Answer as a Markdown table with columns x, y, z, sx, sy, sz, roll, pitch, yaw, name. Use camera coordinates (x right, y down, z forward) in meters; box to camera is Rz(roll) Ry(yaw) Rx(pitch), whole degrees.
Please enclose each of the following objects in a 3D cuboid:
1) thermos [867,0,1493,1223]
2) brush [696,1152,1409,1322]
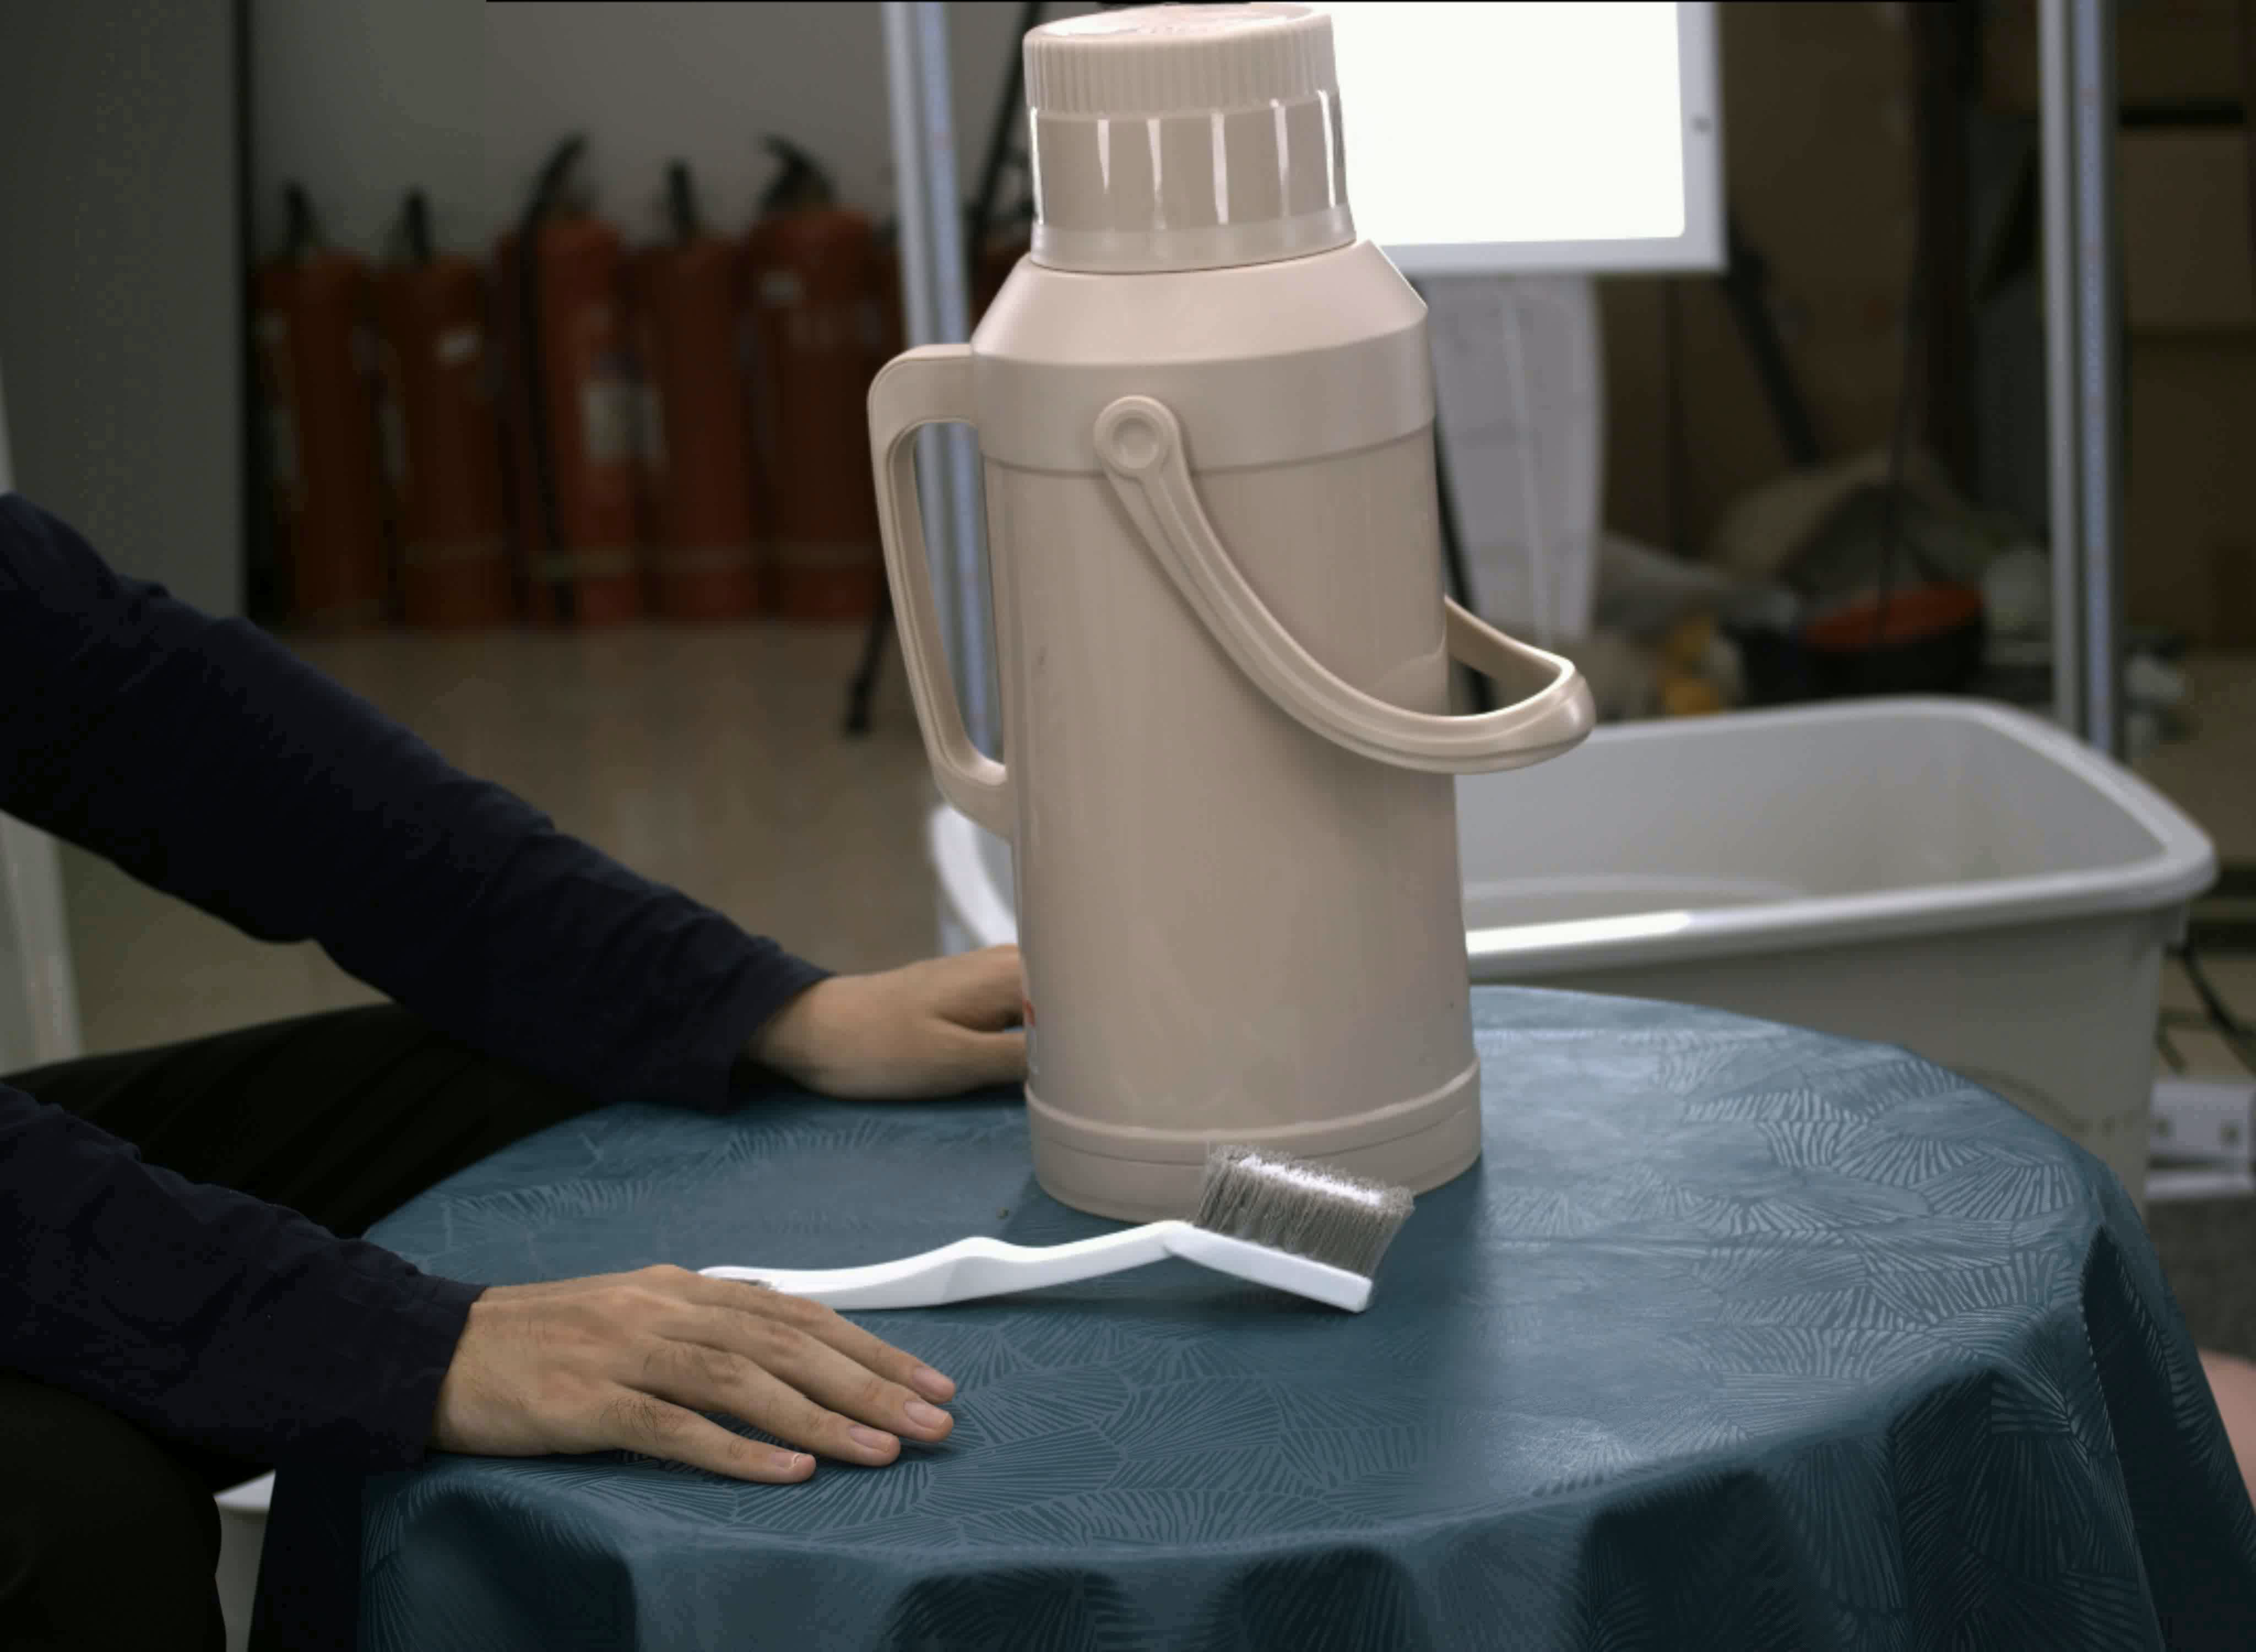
| x | y | z | sx | sy | sz | roll | pitch | yaw | name |
| --- | --- | --- | --- | --- | --- | --- | --- | --- | --- |
| 0.019 | -0.076 | 1.885 | 0.209 | 0.408 | 0.173 | -1 | 16 | 17 | thermos |
| -0.028 | 0.131 | 1.789 | 0.246 | 0.050 | 0.034 | 0 | 20 | 19 | brush |
